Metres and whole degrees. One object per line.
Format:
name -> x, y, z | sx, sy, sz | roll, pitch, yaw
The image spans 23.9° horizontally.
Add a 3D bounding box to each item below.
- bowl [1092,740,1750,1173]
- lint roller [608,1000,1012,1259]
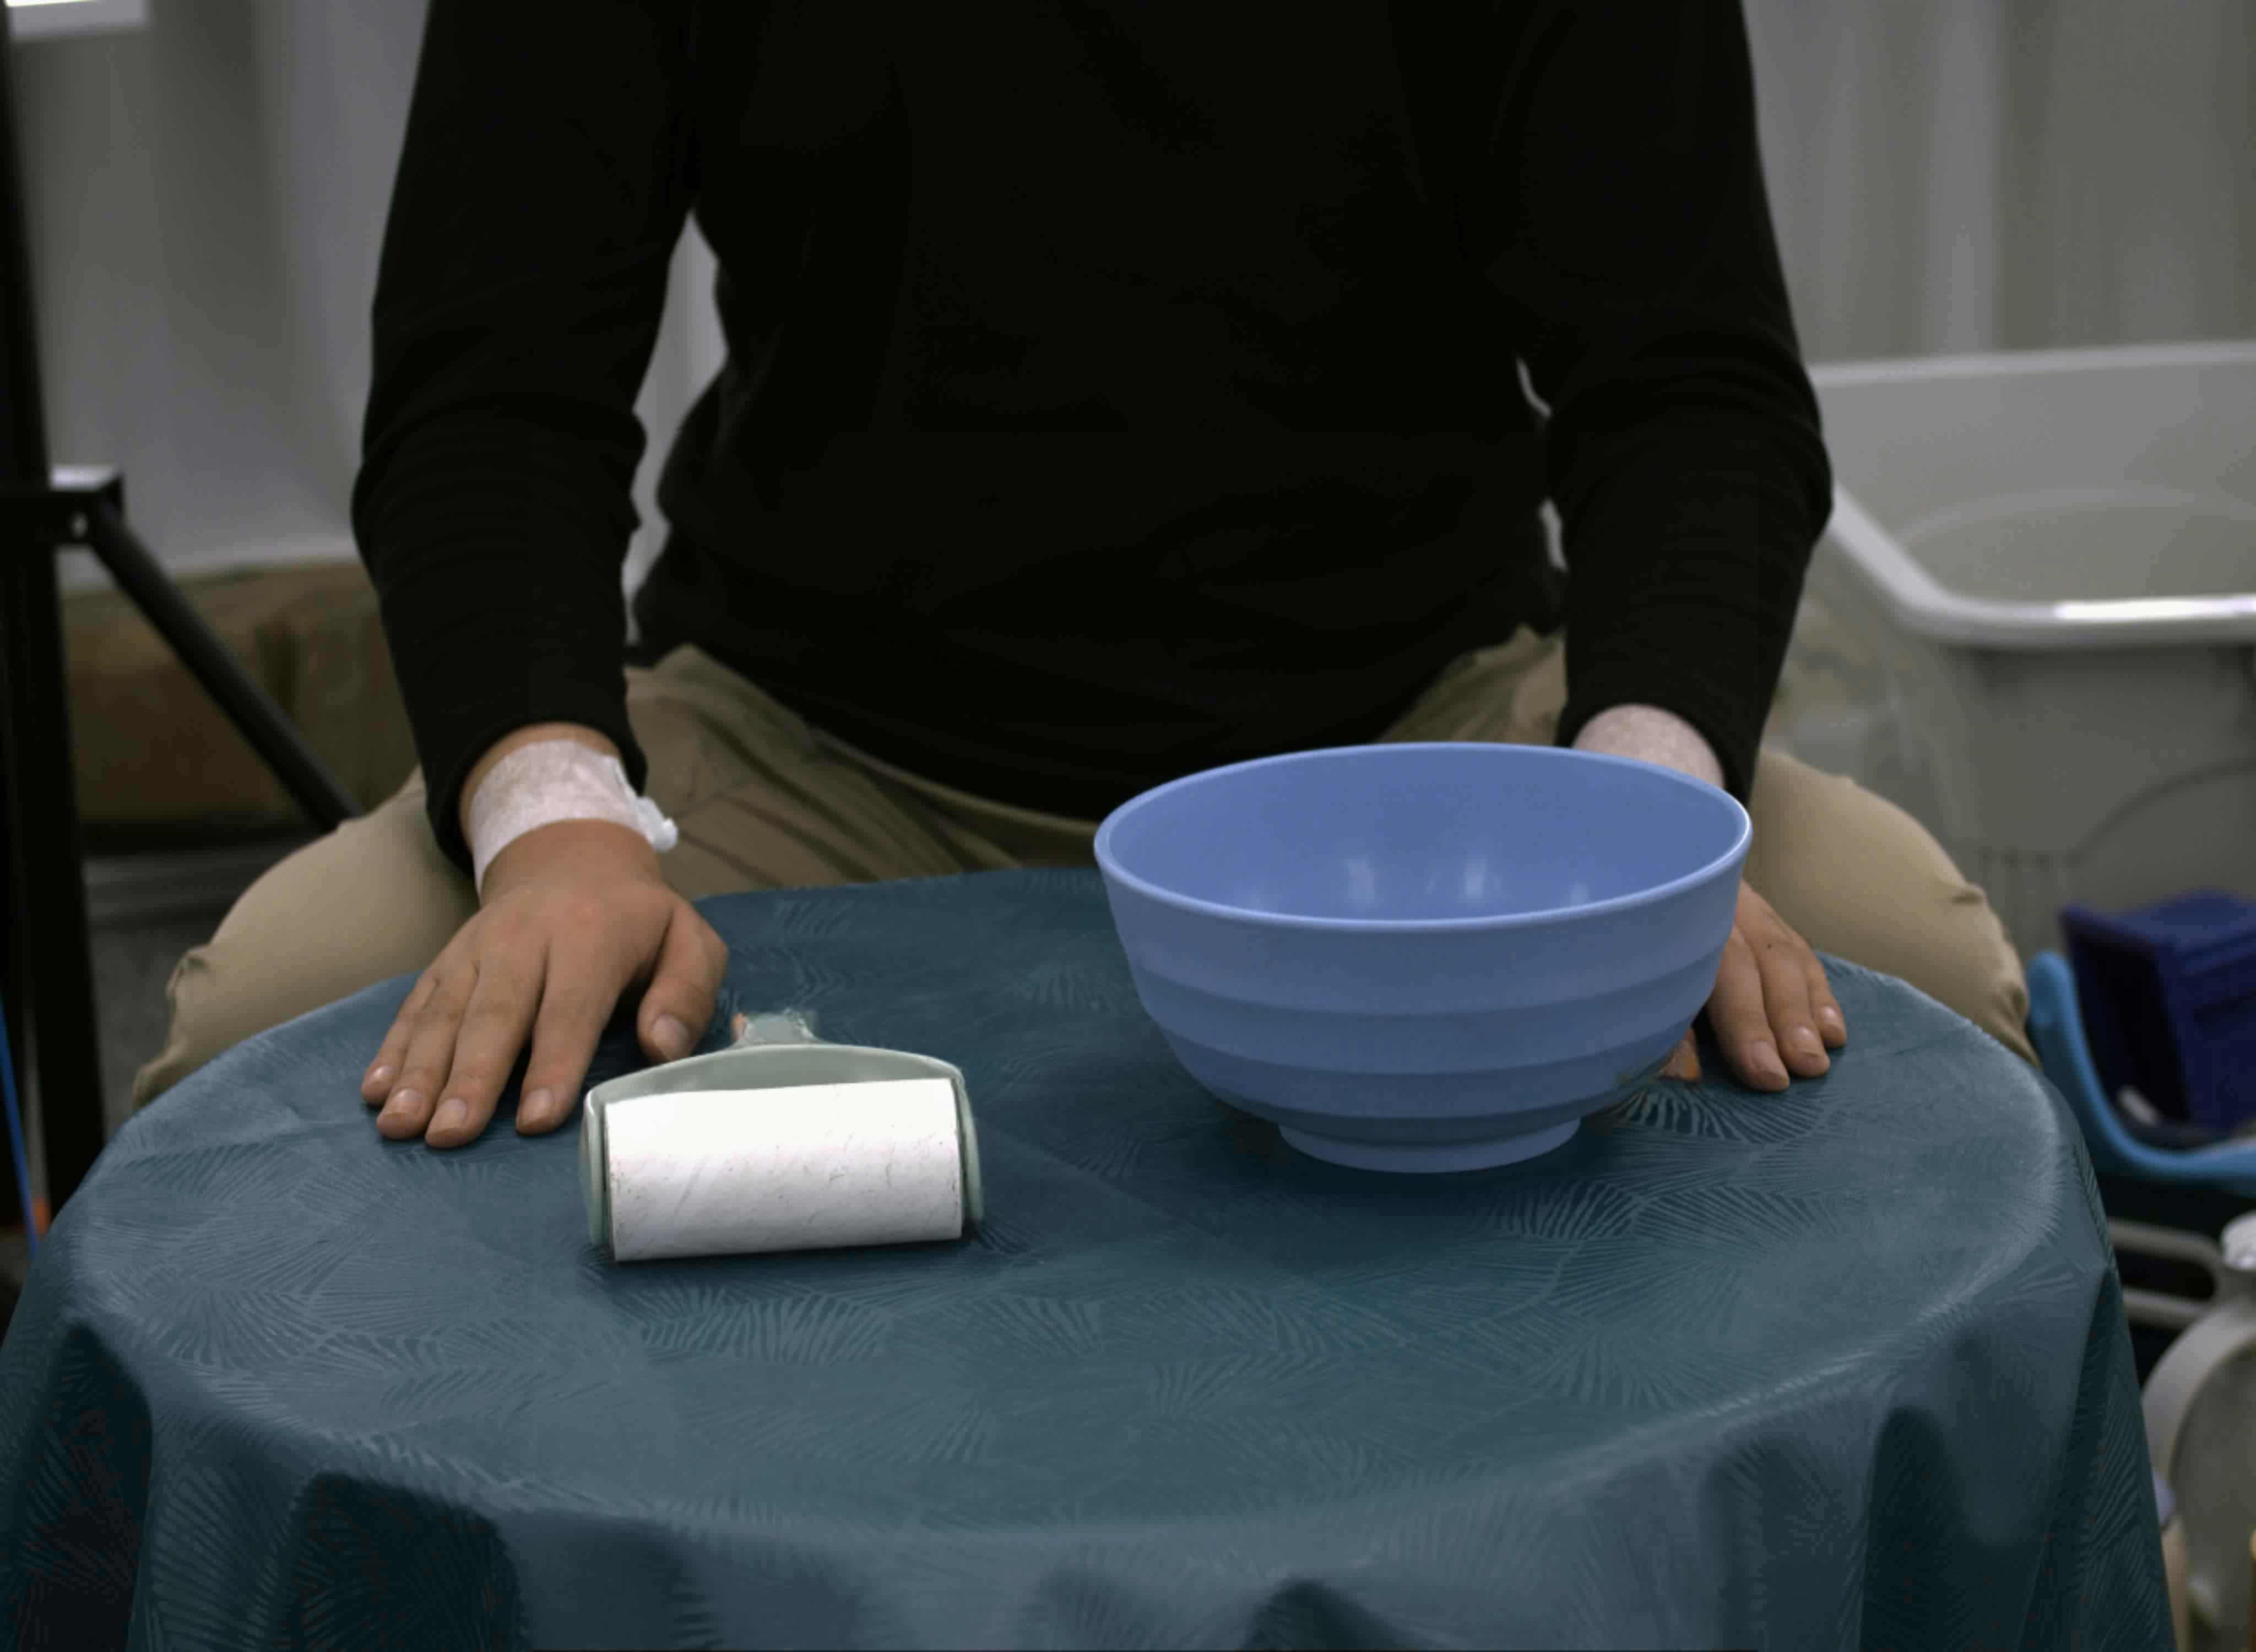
bowl -> 0.089, 0.045, 1.590 | 0.195, 0.095, 0.197 | -4, 16, 0
lint roller -> -0.097, 0.079, 1.595 | 0.116, 0.048, 0.199 | -5, 15, -4
